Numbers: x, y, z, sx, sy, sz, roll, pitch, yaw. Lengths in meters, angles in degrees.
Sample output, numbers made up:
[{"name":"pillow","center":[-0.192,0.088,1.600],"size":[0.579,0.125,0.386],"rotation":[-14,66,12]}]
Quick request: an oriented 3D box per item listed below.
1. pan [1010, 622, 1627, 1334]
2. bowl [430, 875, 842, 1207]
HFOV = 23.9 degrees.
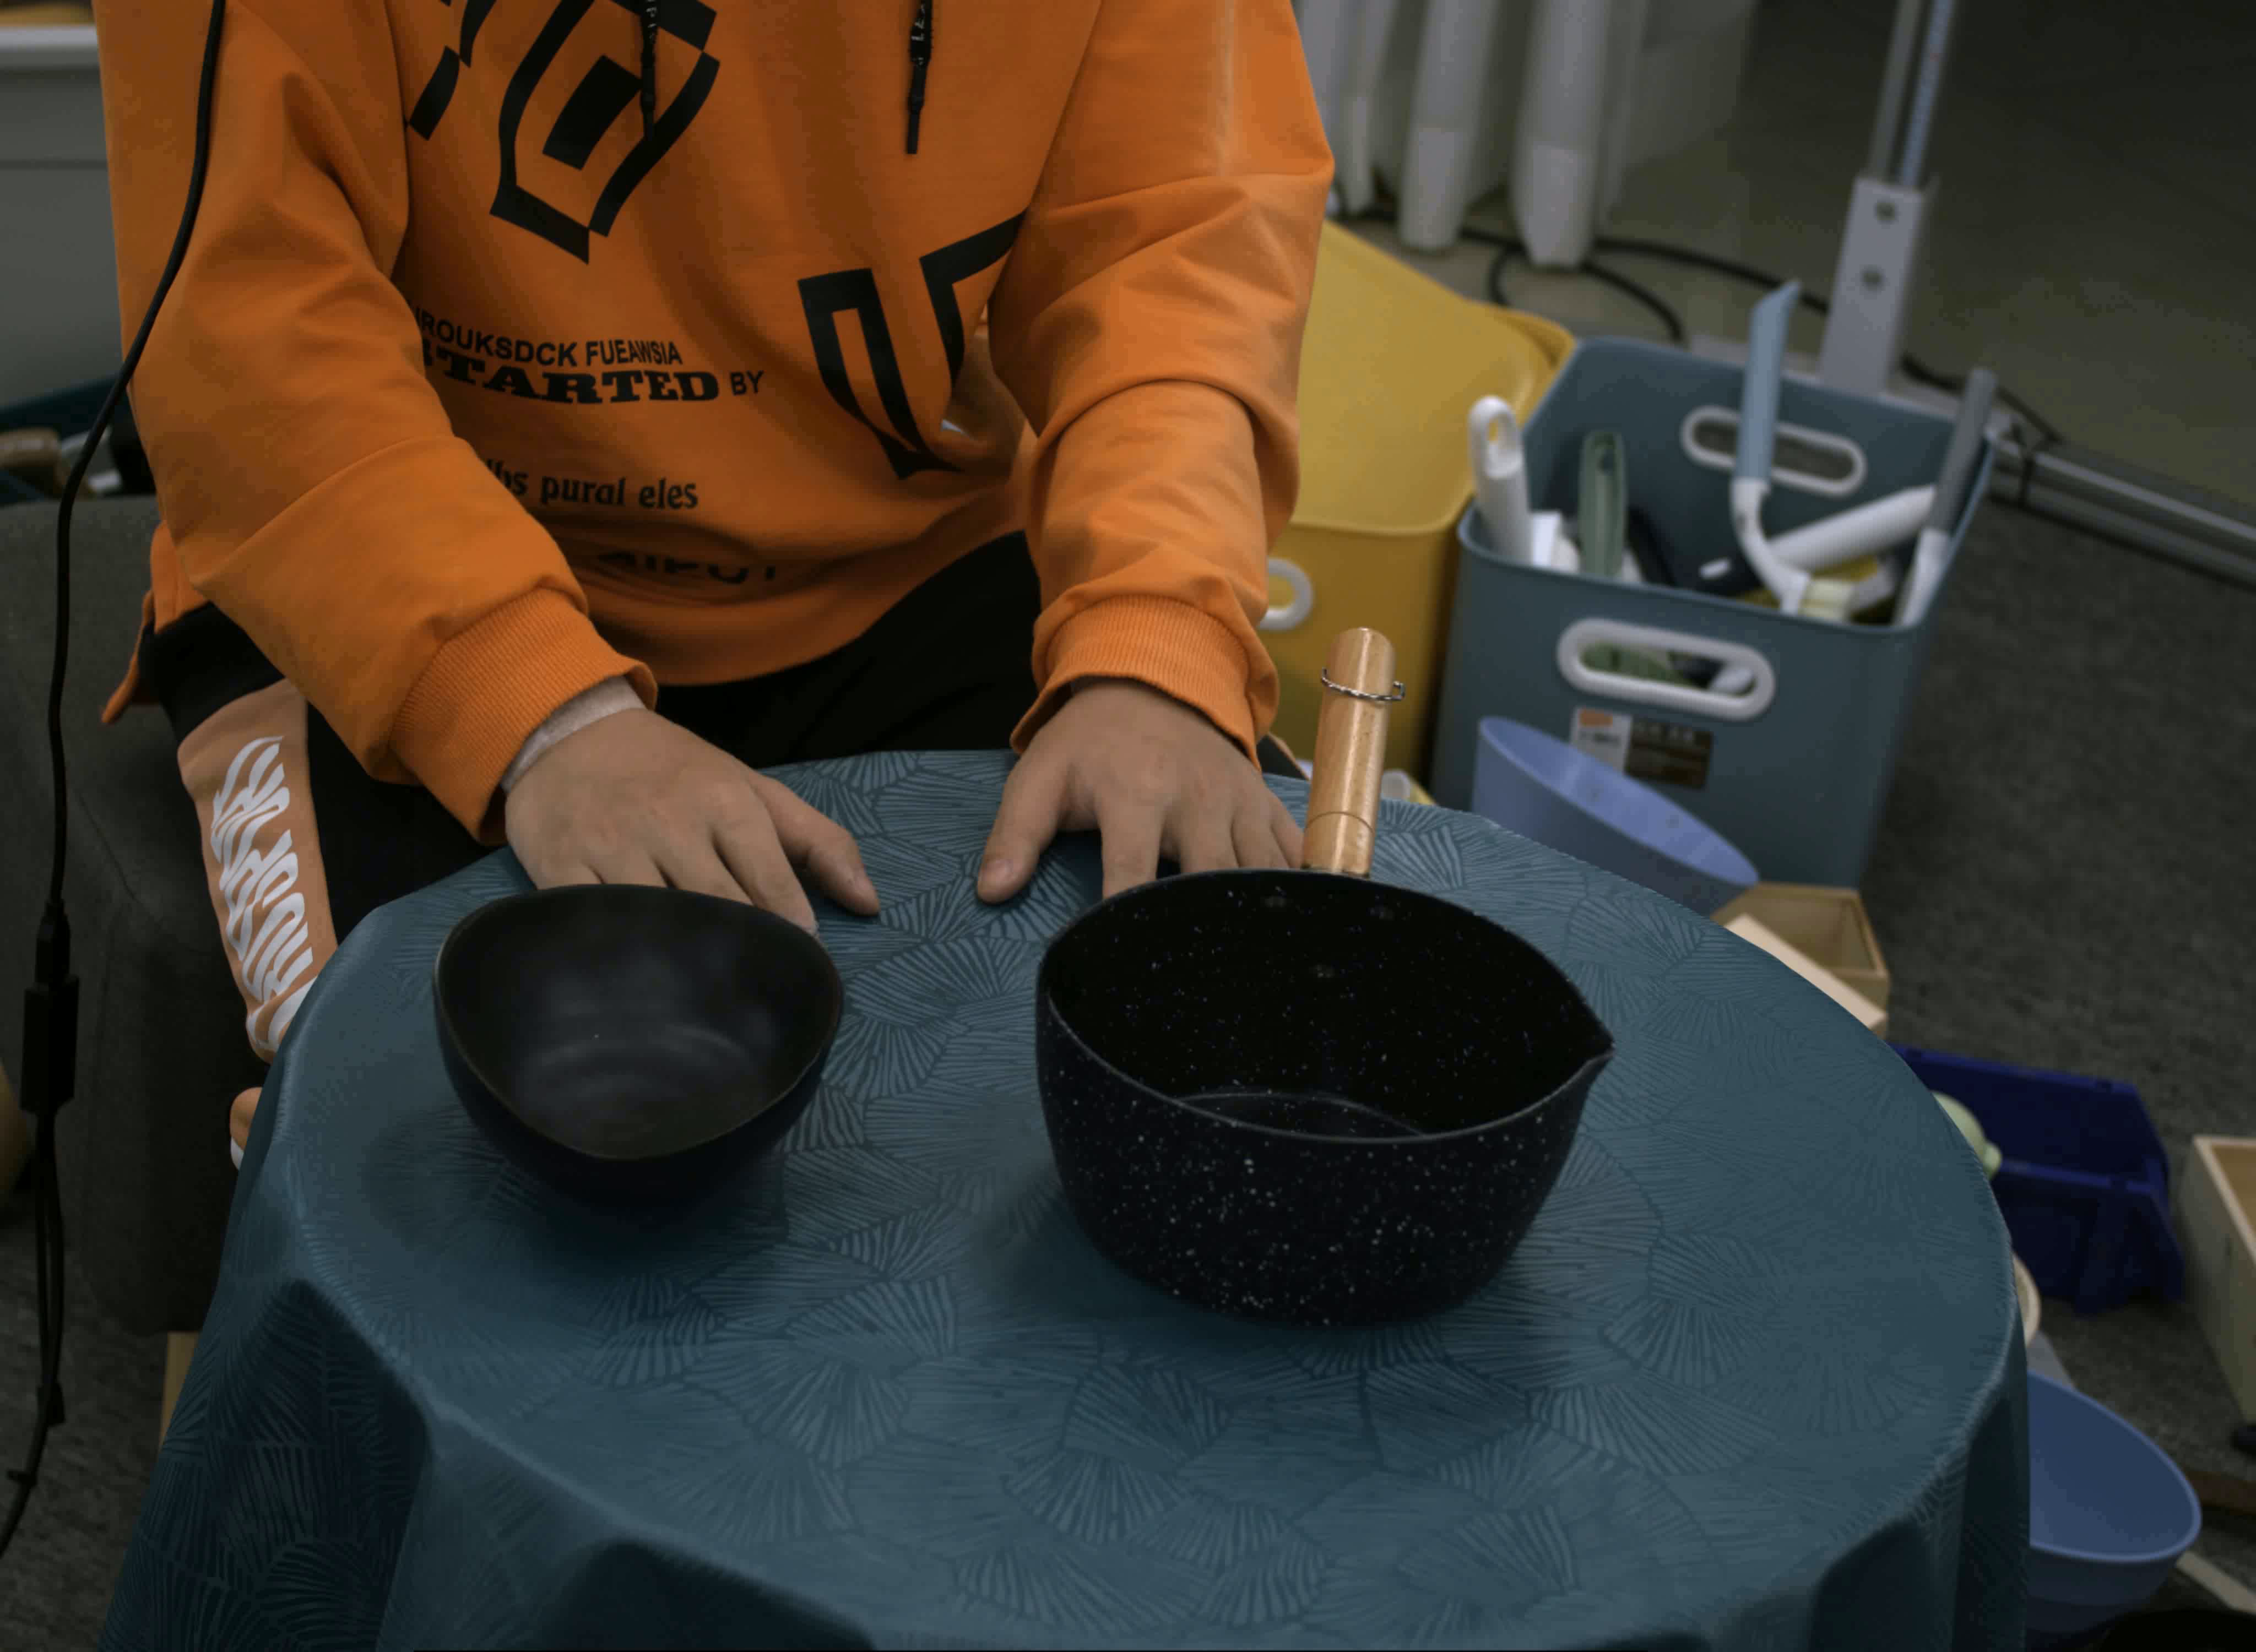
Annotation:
[{"name":"pan","center":[0.066,0.048,1.847],"size":[0.207,0.108,0.344],"rotation":[6,28,2]},{"name":"bowl","center":[-0.166,0.082,1.779],"size":[0.137,0.066,0.171],"rotation":[4,29,-4]}]
